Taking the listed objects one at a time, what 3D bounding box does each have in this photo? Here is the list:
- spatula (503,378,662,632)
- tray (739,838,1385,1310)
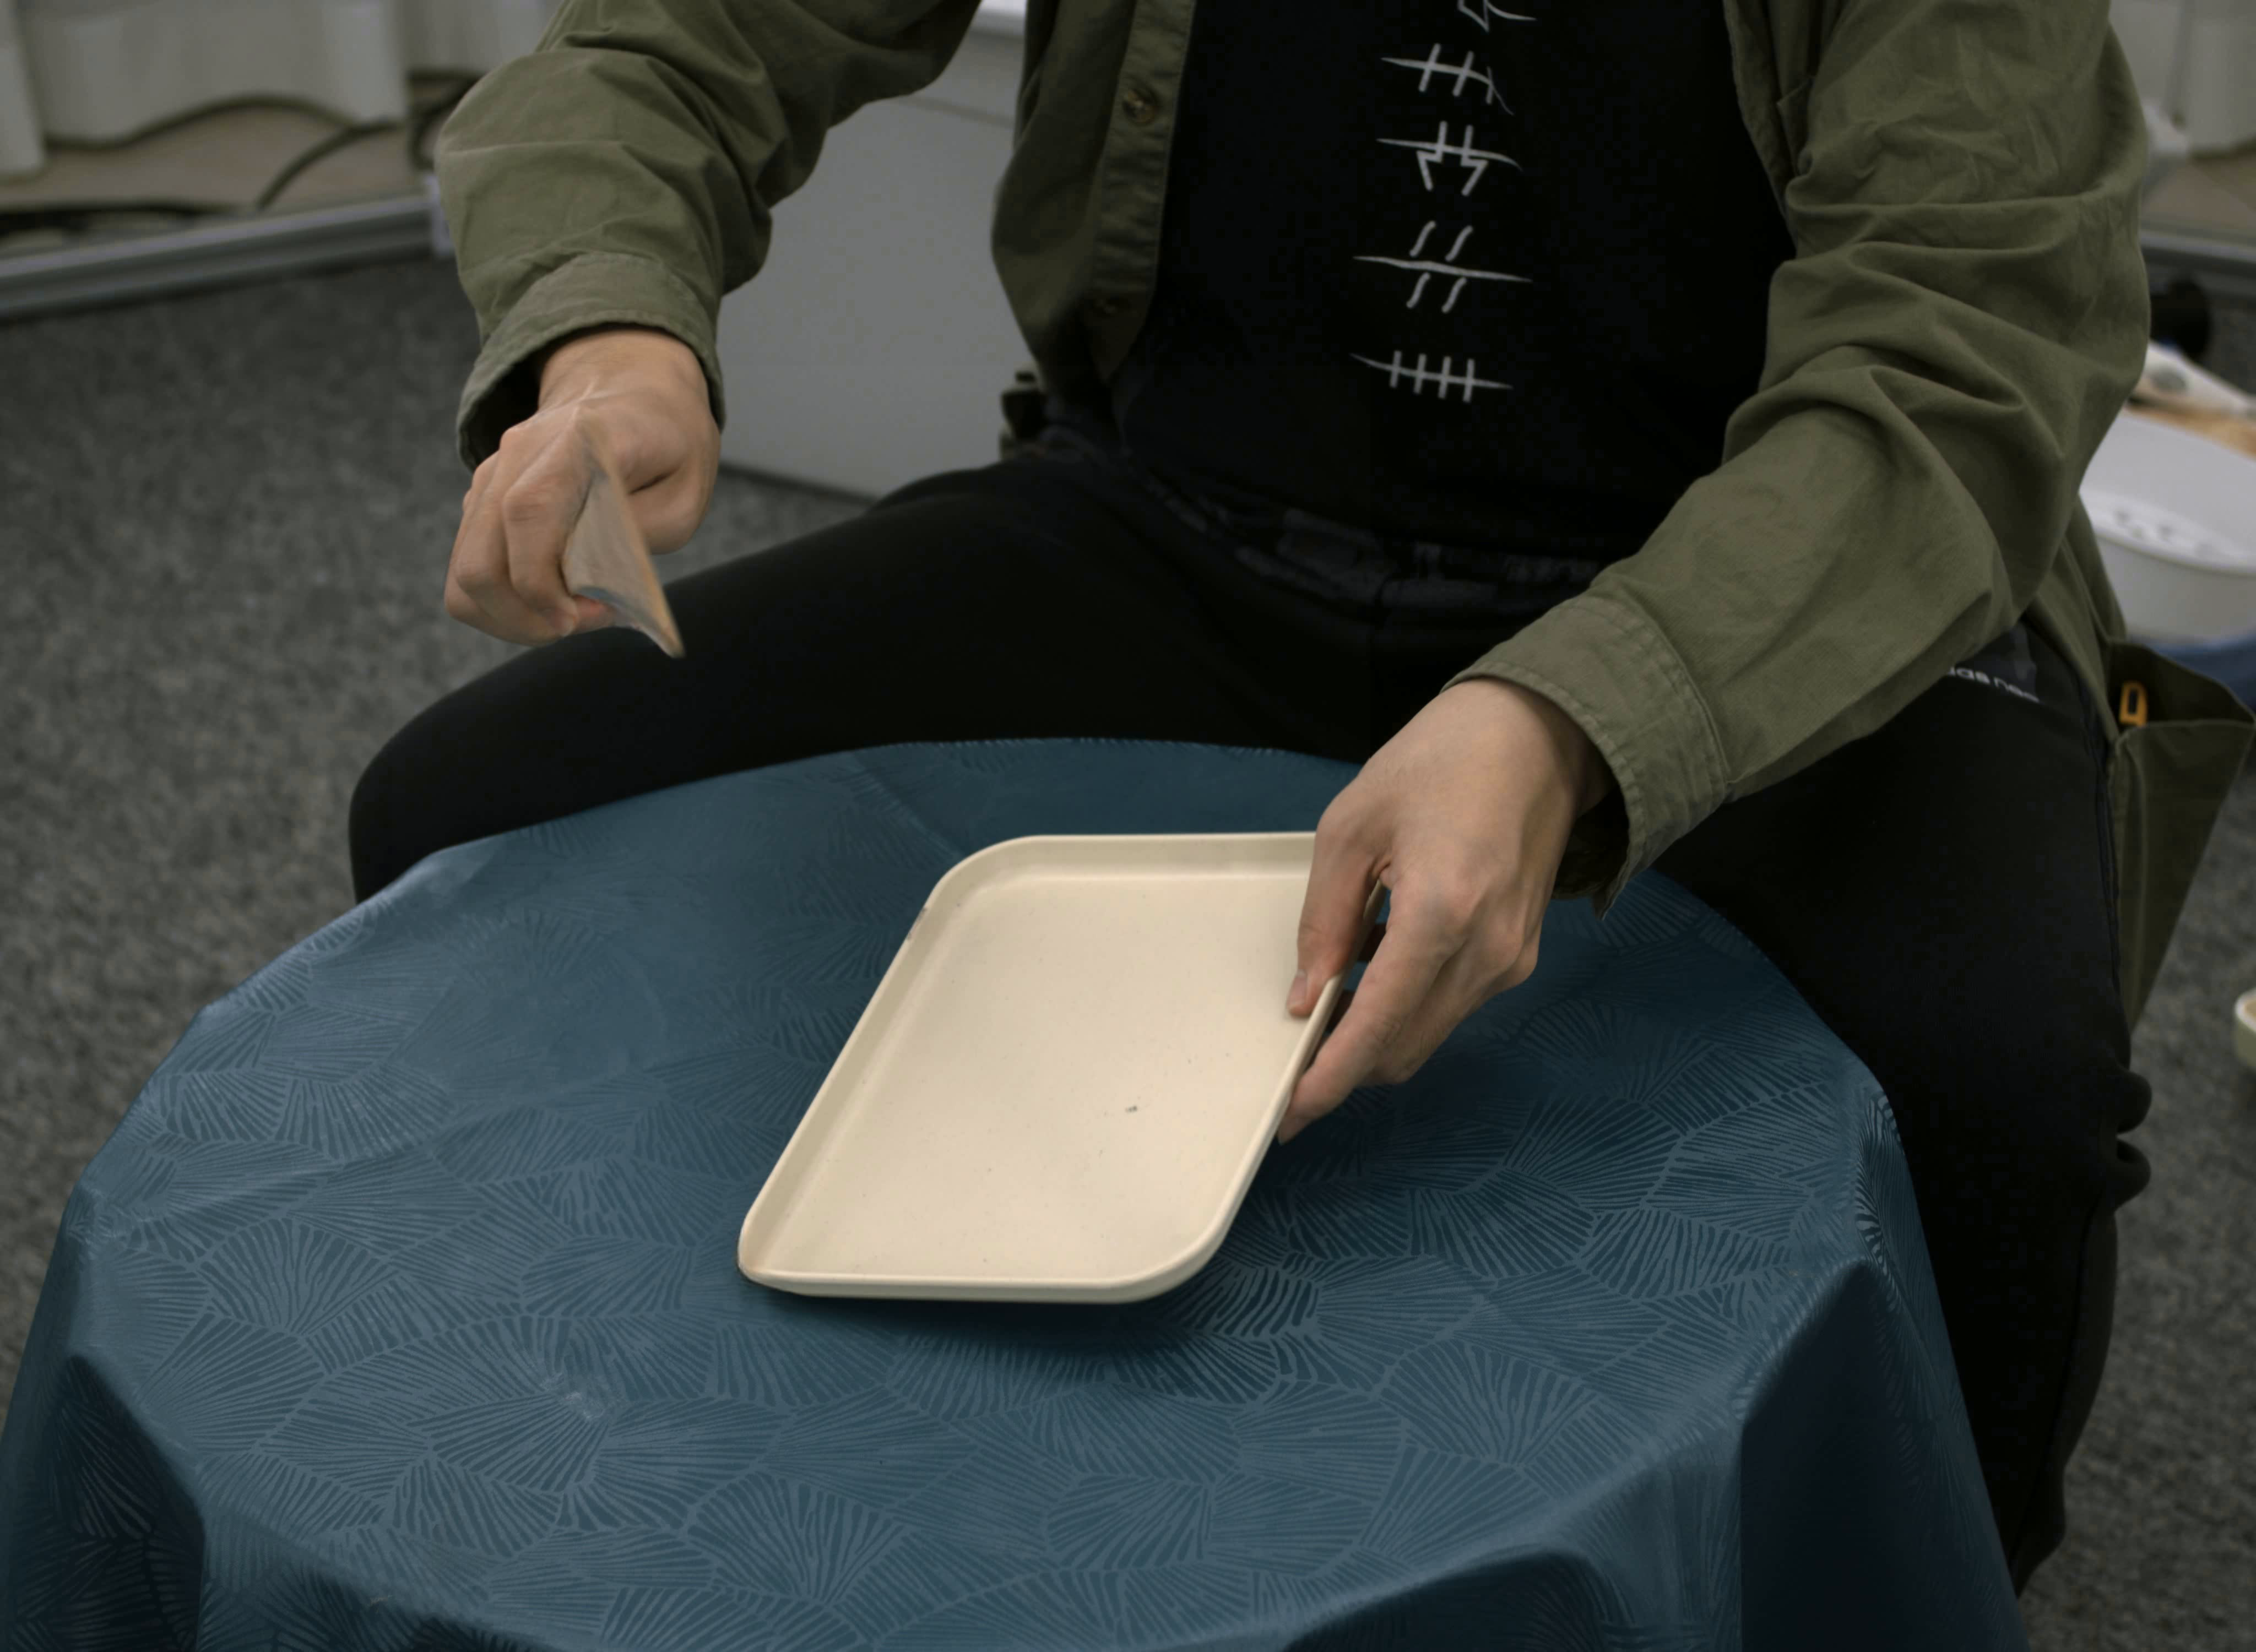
[{"bbox_3d":[-0.185,-0.090,1.841,0.016,0.080,0.325,-20,1,-13],"label":"spatula"},{"bbox_3d":[-0.018,0.081,1.864,0.170,0.017,0.244,0,35,23],"label":"tray"}]
